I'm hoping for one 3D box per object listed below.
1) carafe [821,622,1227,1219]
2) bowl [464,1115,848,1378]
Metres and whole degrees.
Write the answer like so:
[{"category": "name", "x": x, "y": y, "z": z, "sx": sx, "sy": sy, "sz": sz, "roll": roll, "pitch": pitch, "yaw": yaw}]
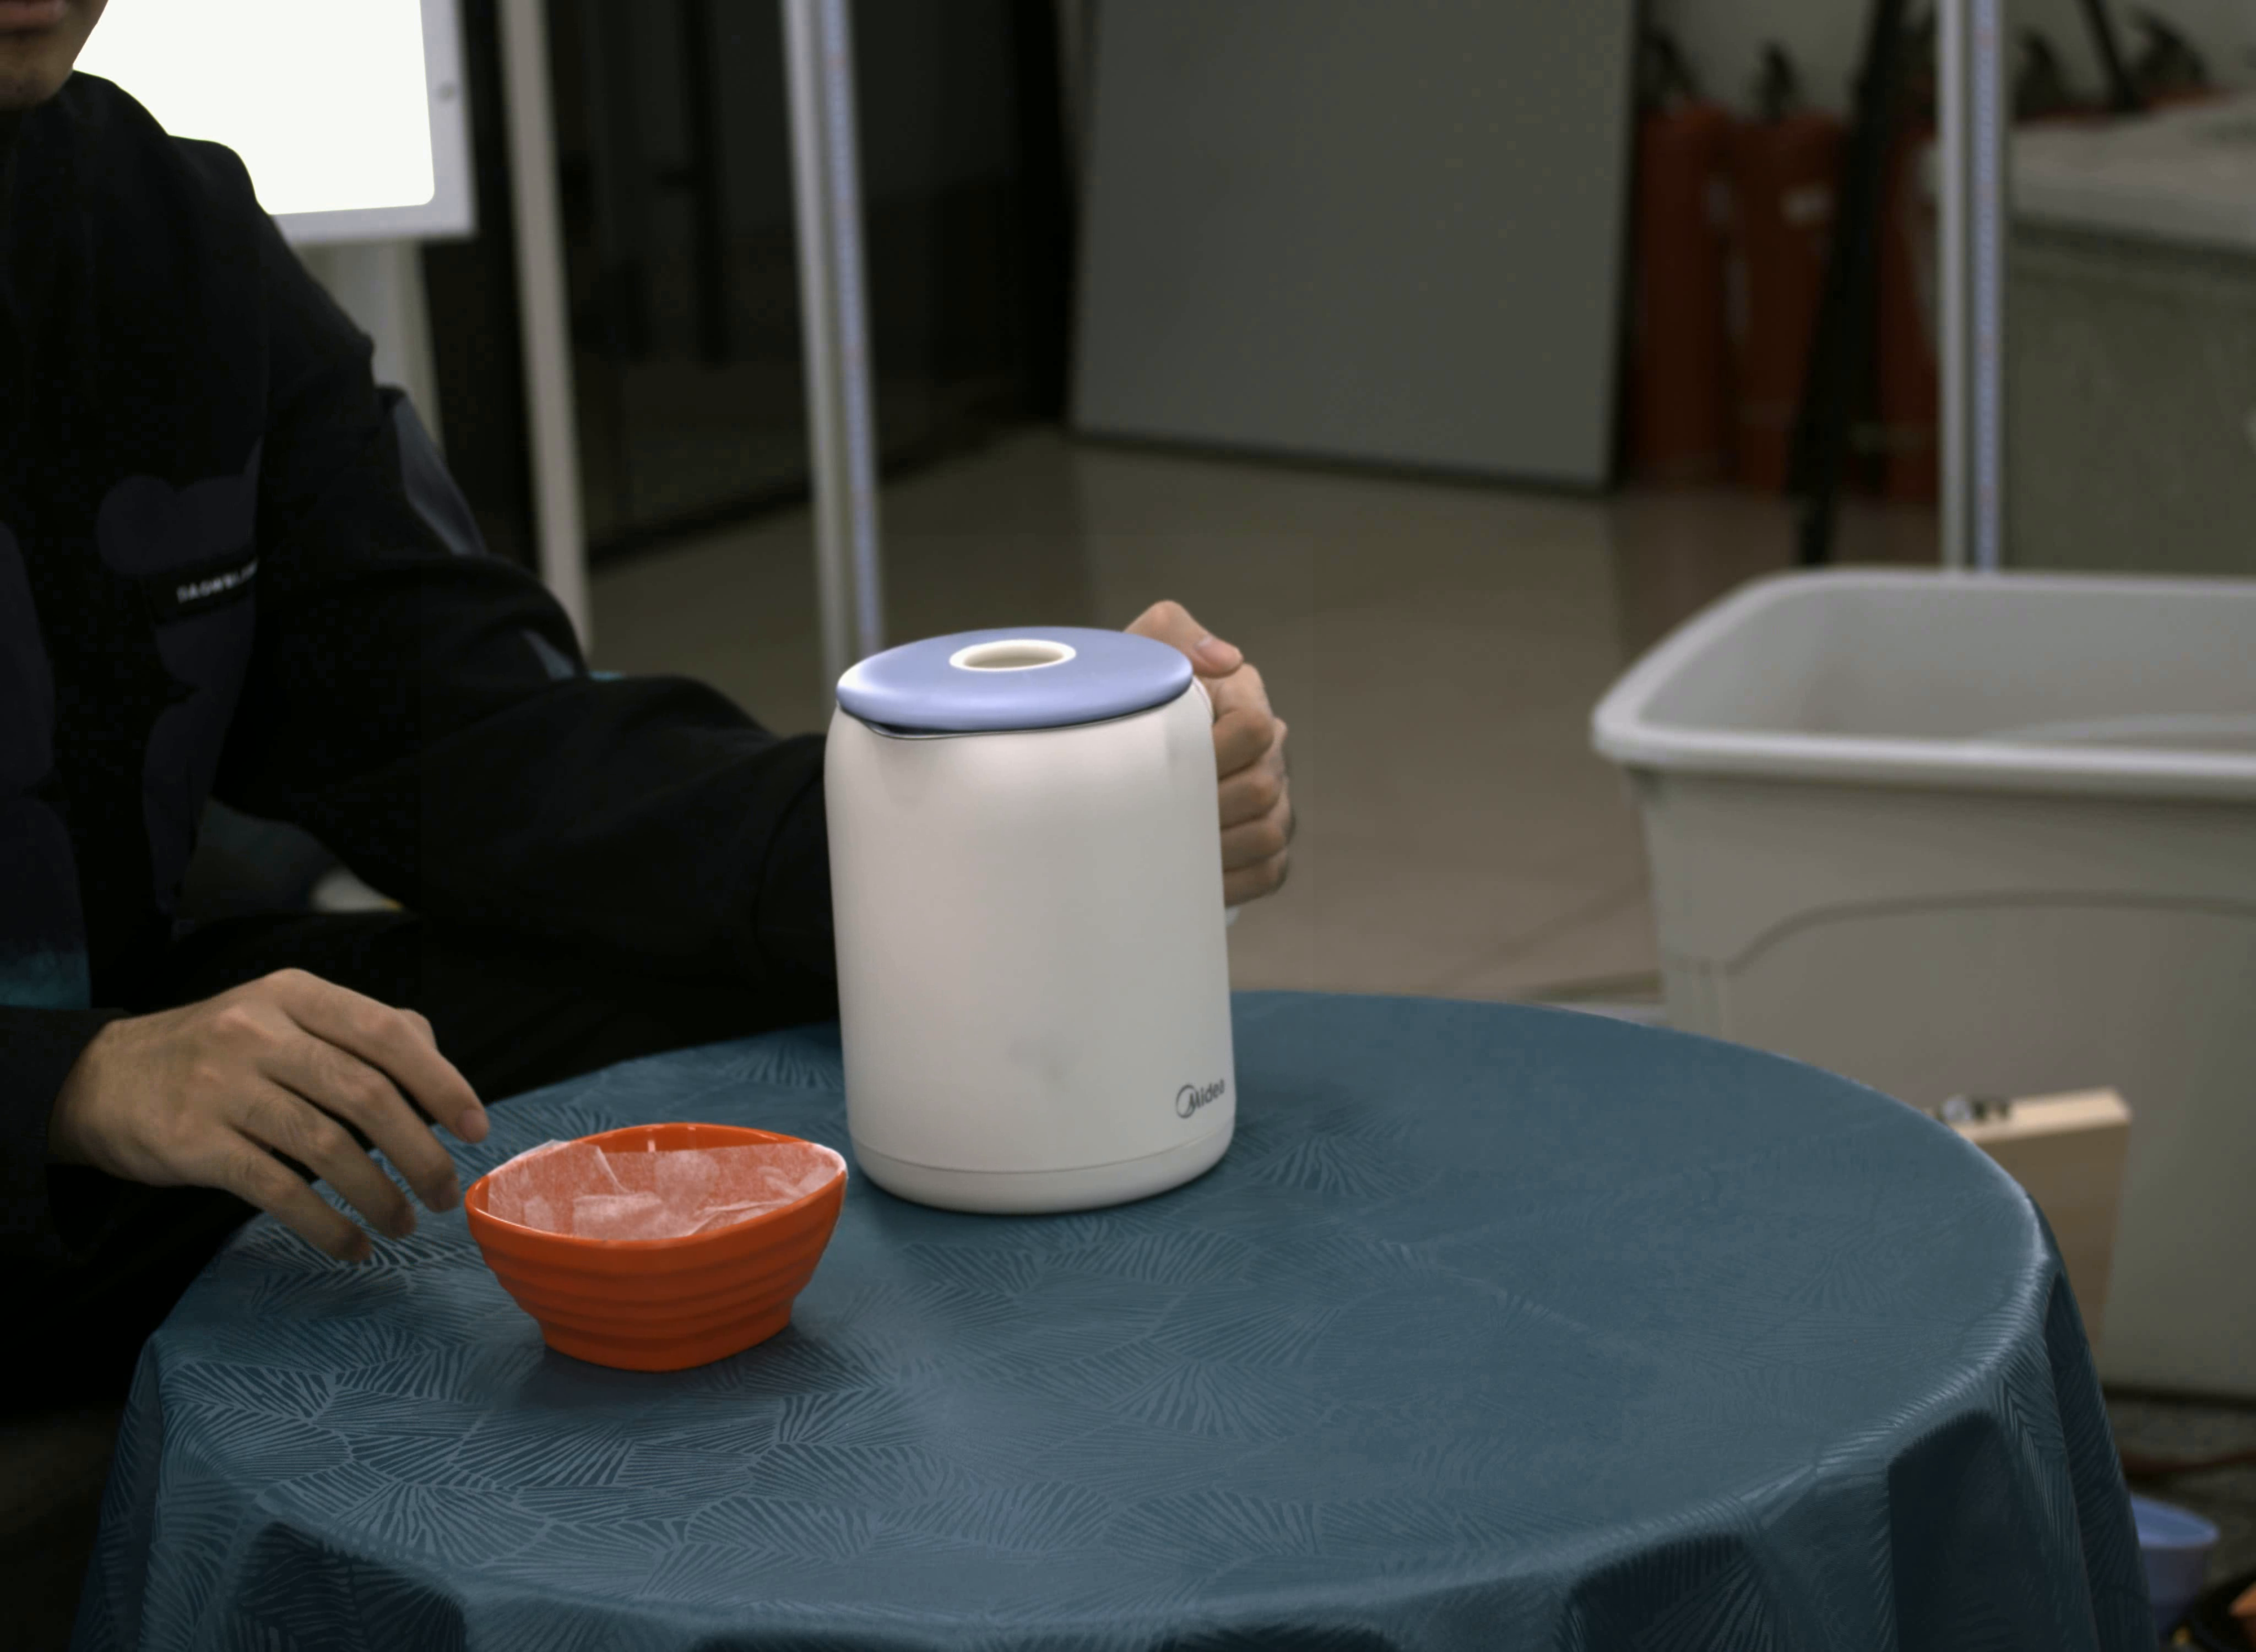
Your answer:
[{"category": "carafe", "x": -0.022, "y": 0.025, "z": 1.809, "sx": 0.133, "sy": 0.184, "sz": 0.188, "roll": 6, "pitch": 15, "yaw": 31}, {"category": "bowl", "x": -0.143, "y": 0.131, "z": 1.660, "sx": 0.117, "sy": 0.052, "sz": 0.119, "roll": -4, "pitch": 16, "yaw": 0}]
